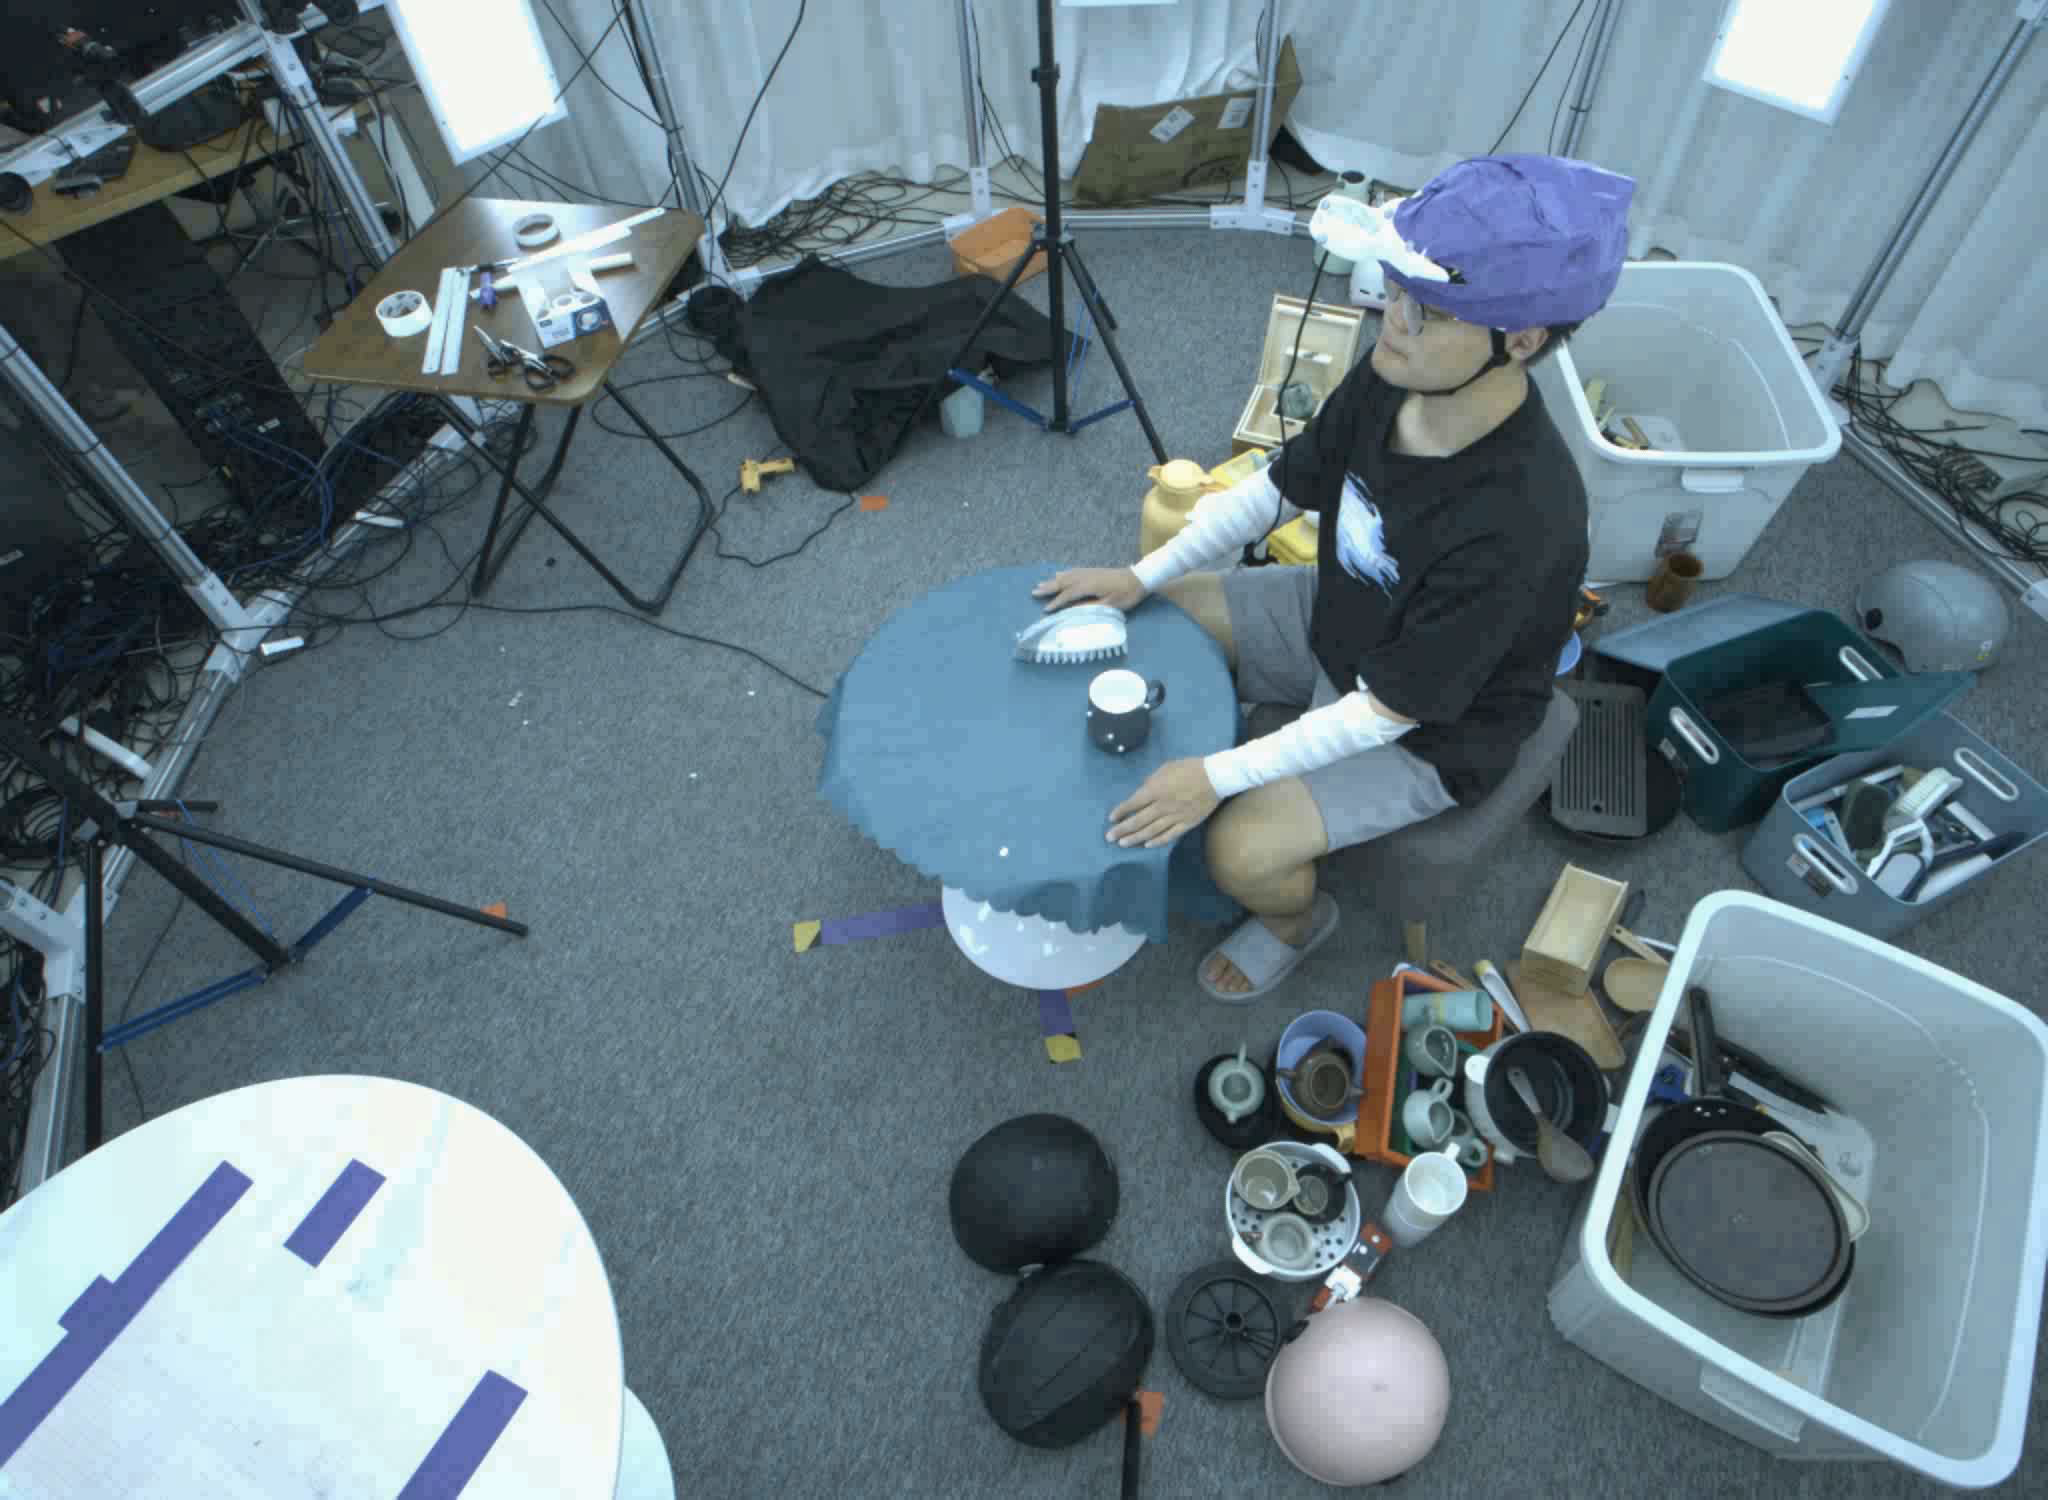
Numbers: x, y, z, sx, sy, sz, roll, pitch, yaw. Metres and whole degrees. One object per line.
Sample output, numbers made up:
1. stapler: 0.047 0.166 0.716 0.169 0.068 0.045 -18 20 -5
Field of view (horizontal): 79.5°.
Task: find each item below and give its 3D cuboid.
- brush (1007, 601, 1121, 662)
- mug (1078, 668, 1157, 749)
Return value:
1. brush: 0.057 -0.180 1.849 0.176 0.095 0.060 -9 52 -2
2. mug: 0.136 -0.066 1.765 0.124 0.091 0.092 -24 57 -14
